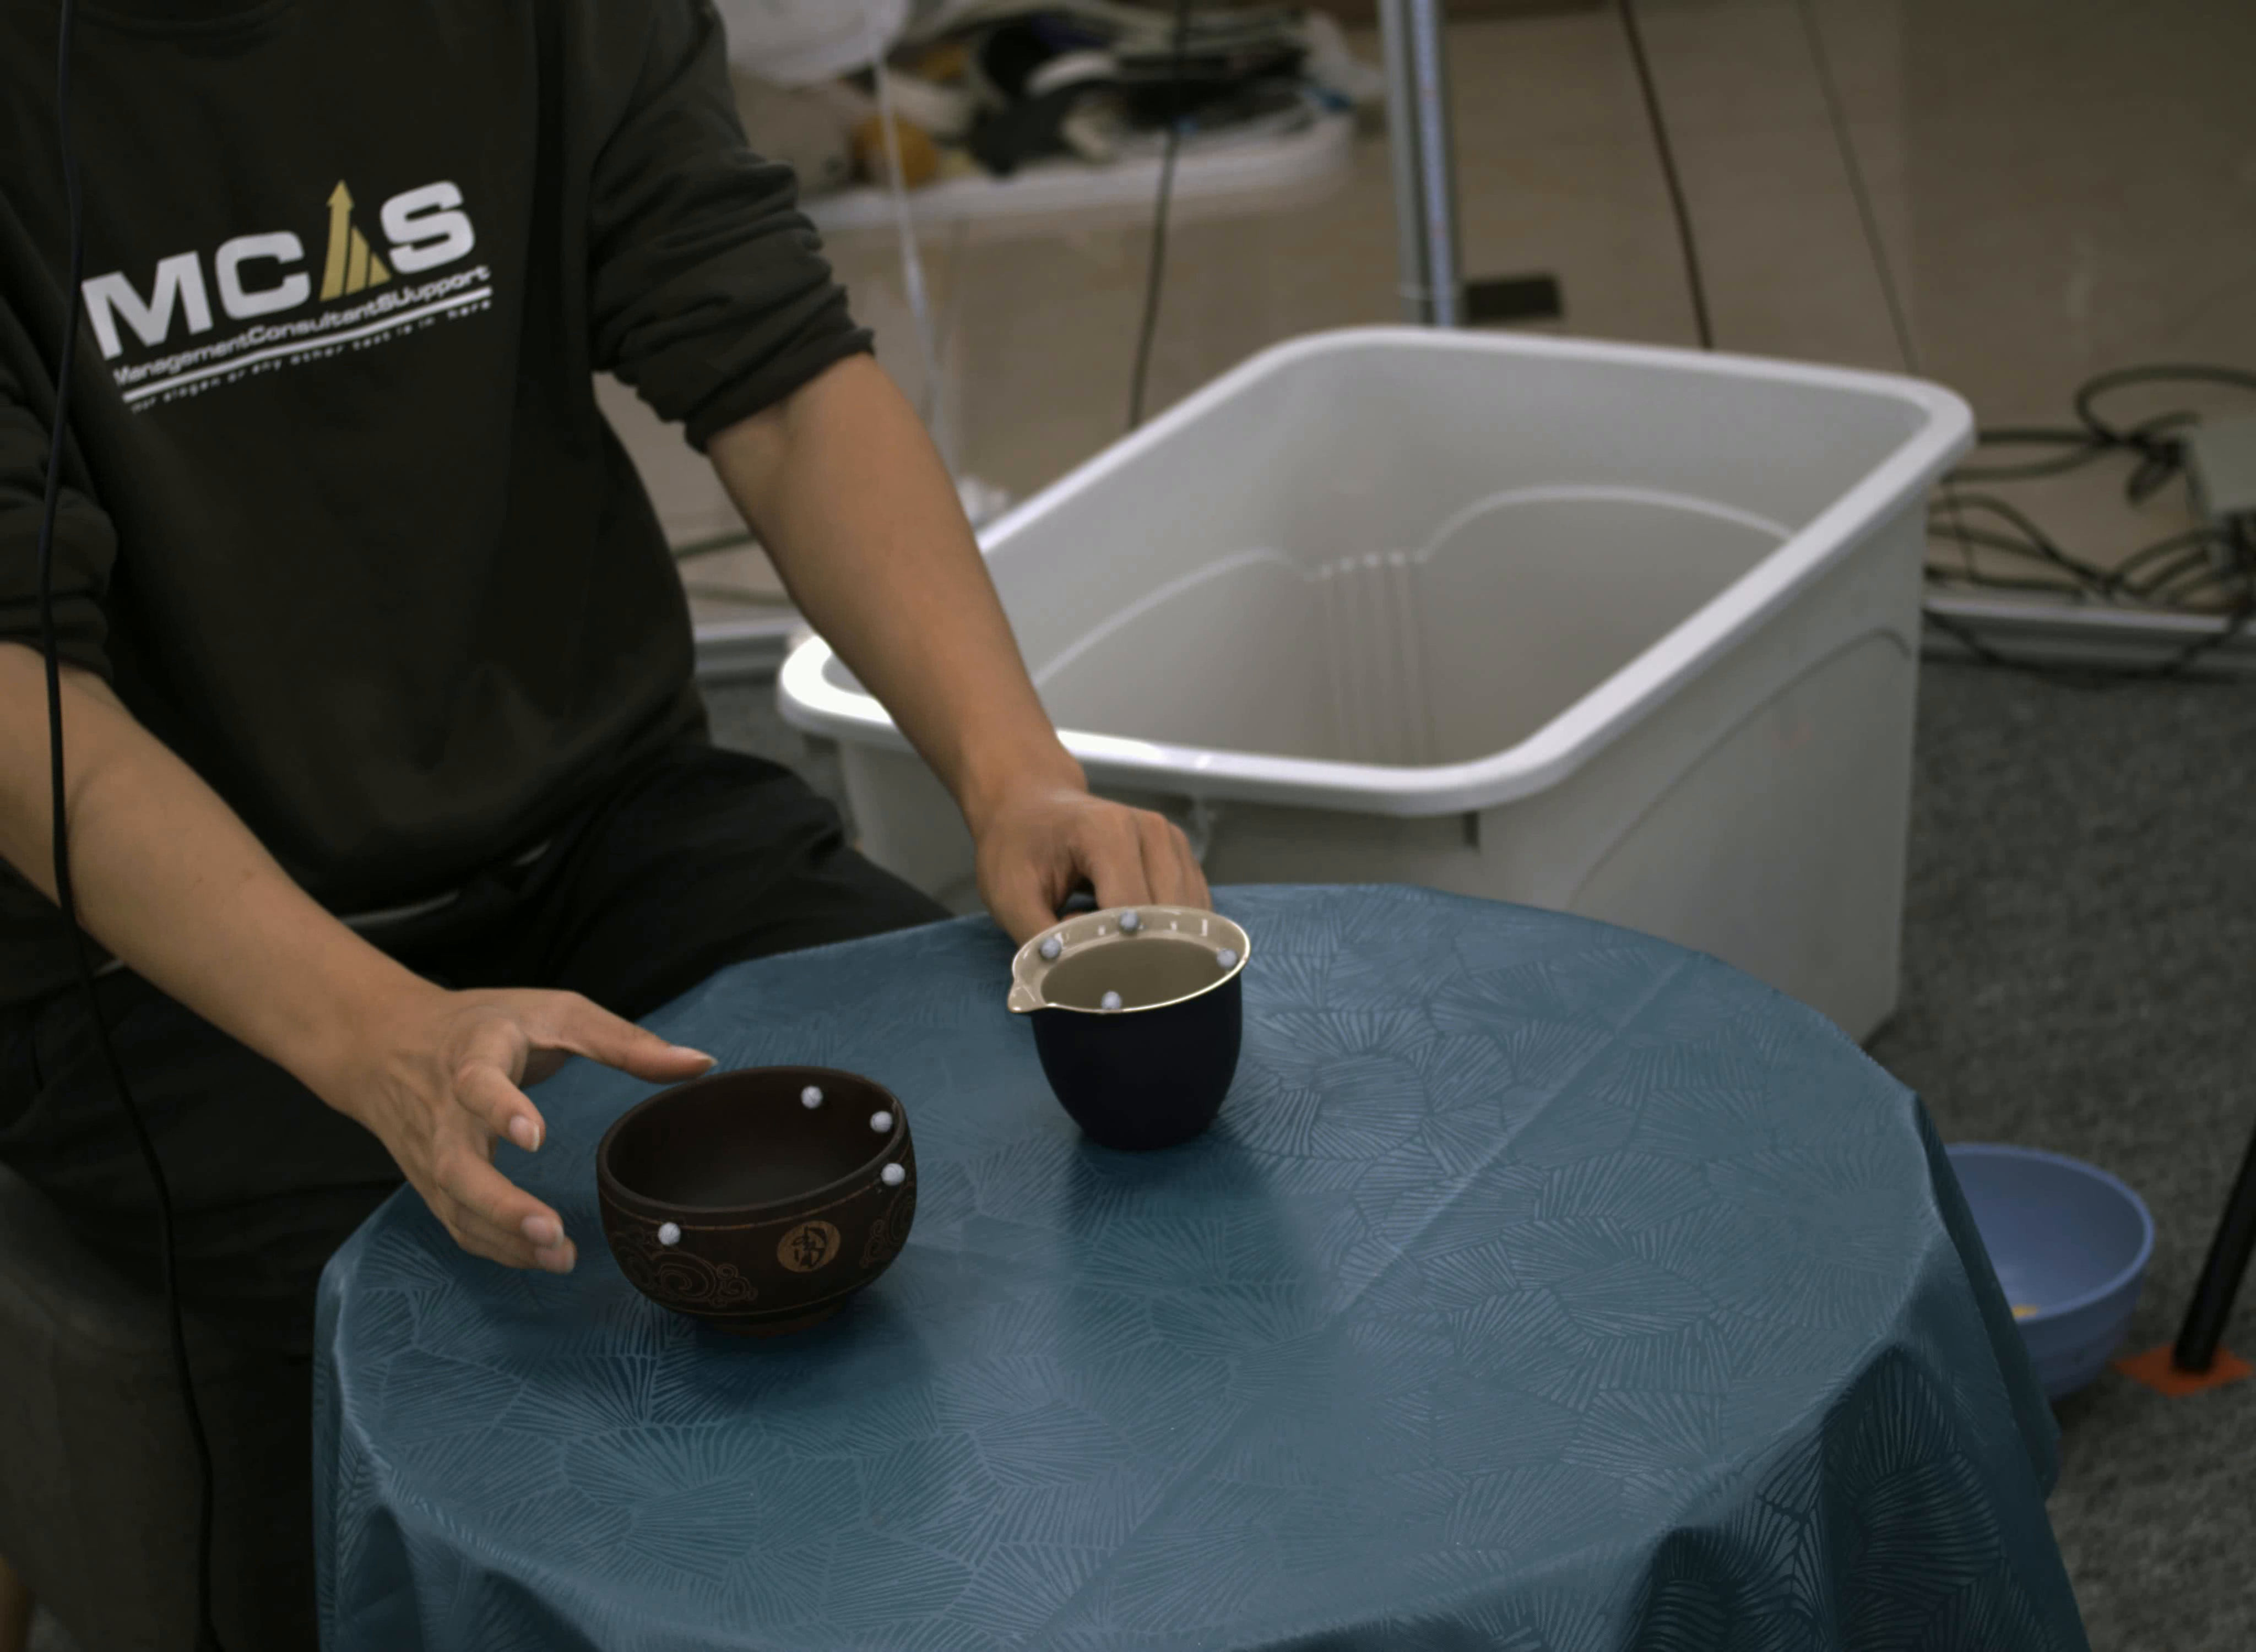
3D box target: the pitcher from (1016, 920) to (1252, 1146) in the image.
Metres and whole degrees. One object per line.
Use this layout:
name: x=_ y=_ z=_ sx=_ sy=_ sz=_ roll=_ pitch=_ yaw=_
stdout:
pitcher: x=0.003 y=0.082 z=2.180 sx=0.095 sy=0.072 sz=0.082 roll=-16 pitch=28 yaw=-21

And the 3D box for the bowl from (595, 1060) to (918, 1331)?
bowl: x=-0.134 y=0.142 z=2.084 sx=0.118 sy=0.071 sz=0.116 roll=-6 pitch=24 yaw=3
